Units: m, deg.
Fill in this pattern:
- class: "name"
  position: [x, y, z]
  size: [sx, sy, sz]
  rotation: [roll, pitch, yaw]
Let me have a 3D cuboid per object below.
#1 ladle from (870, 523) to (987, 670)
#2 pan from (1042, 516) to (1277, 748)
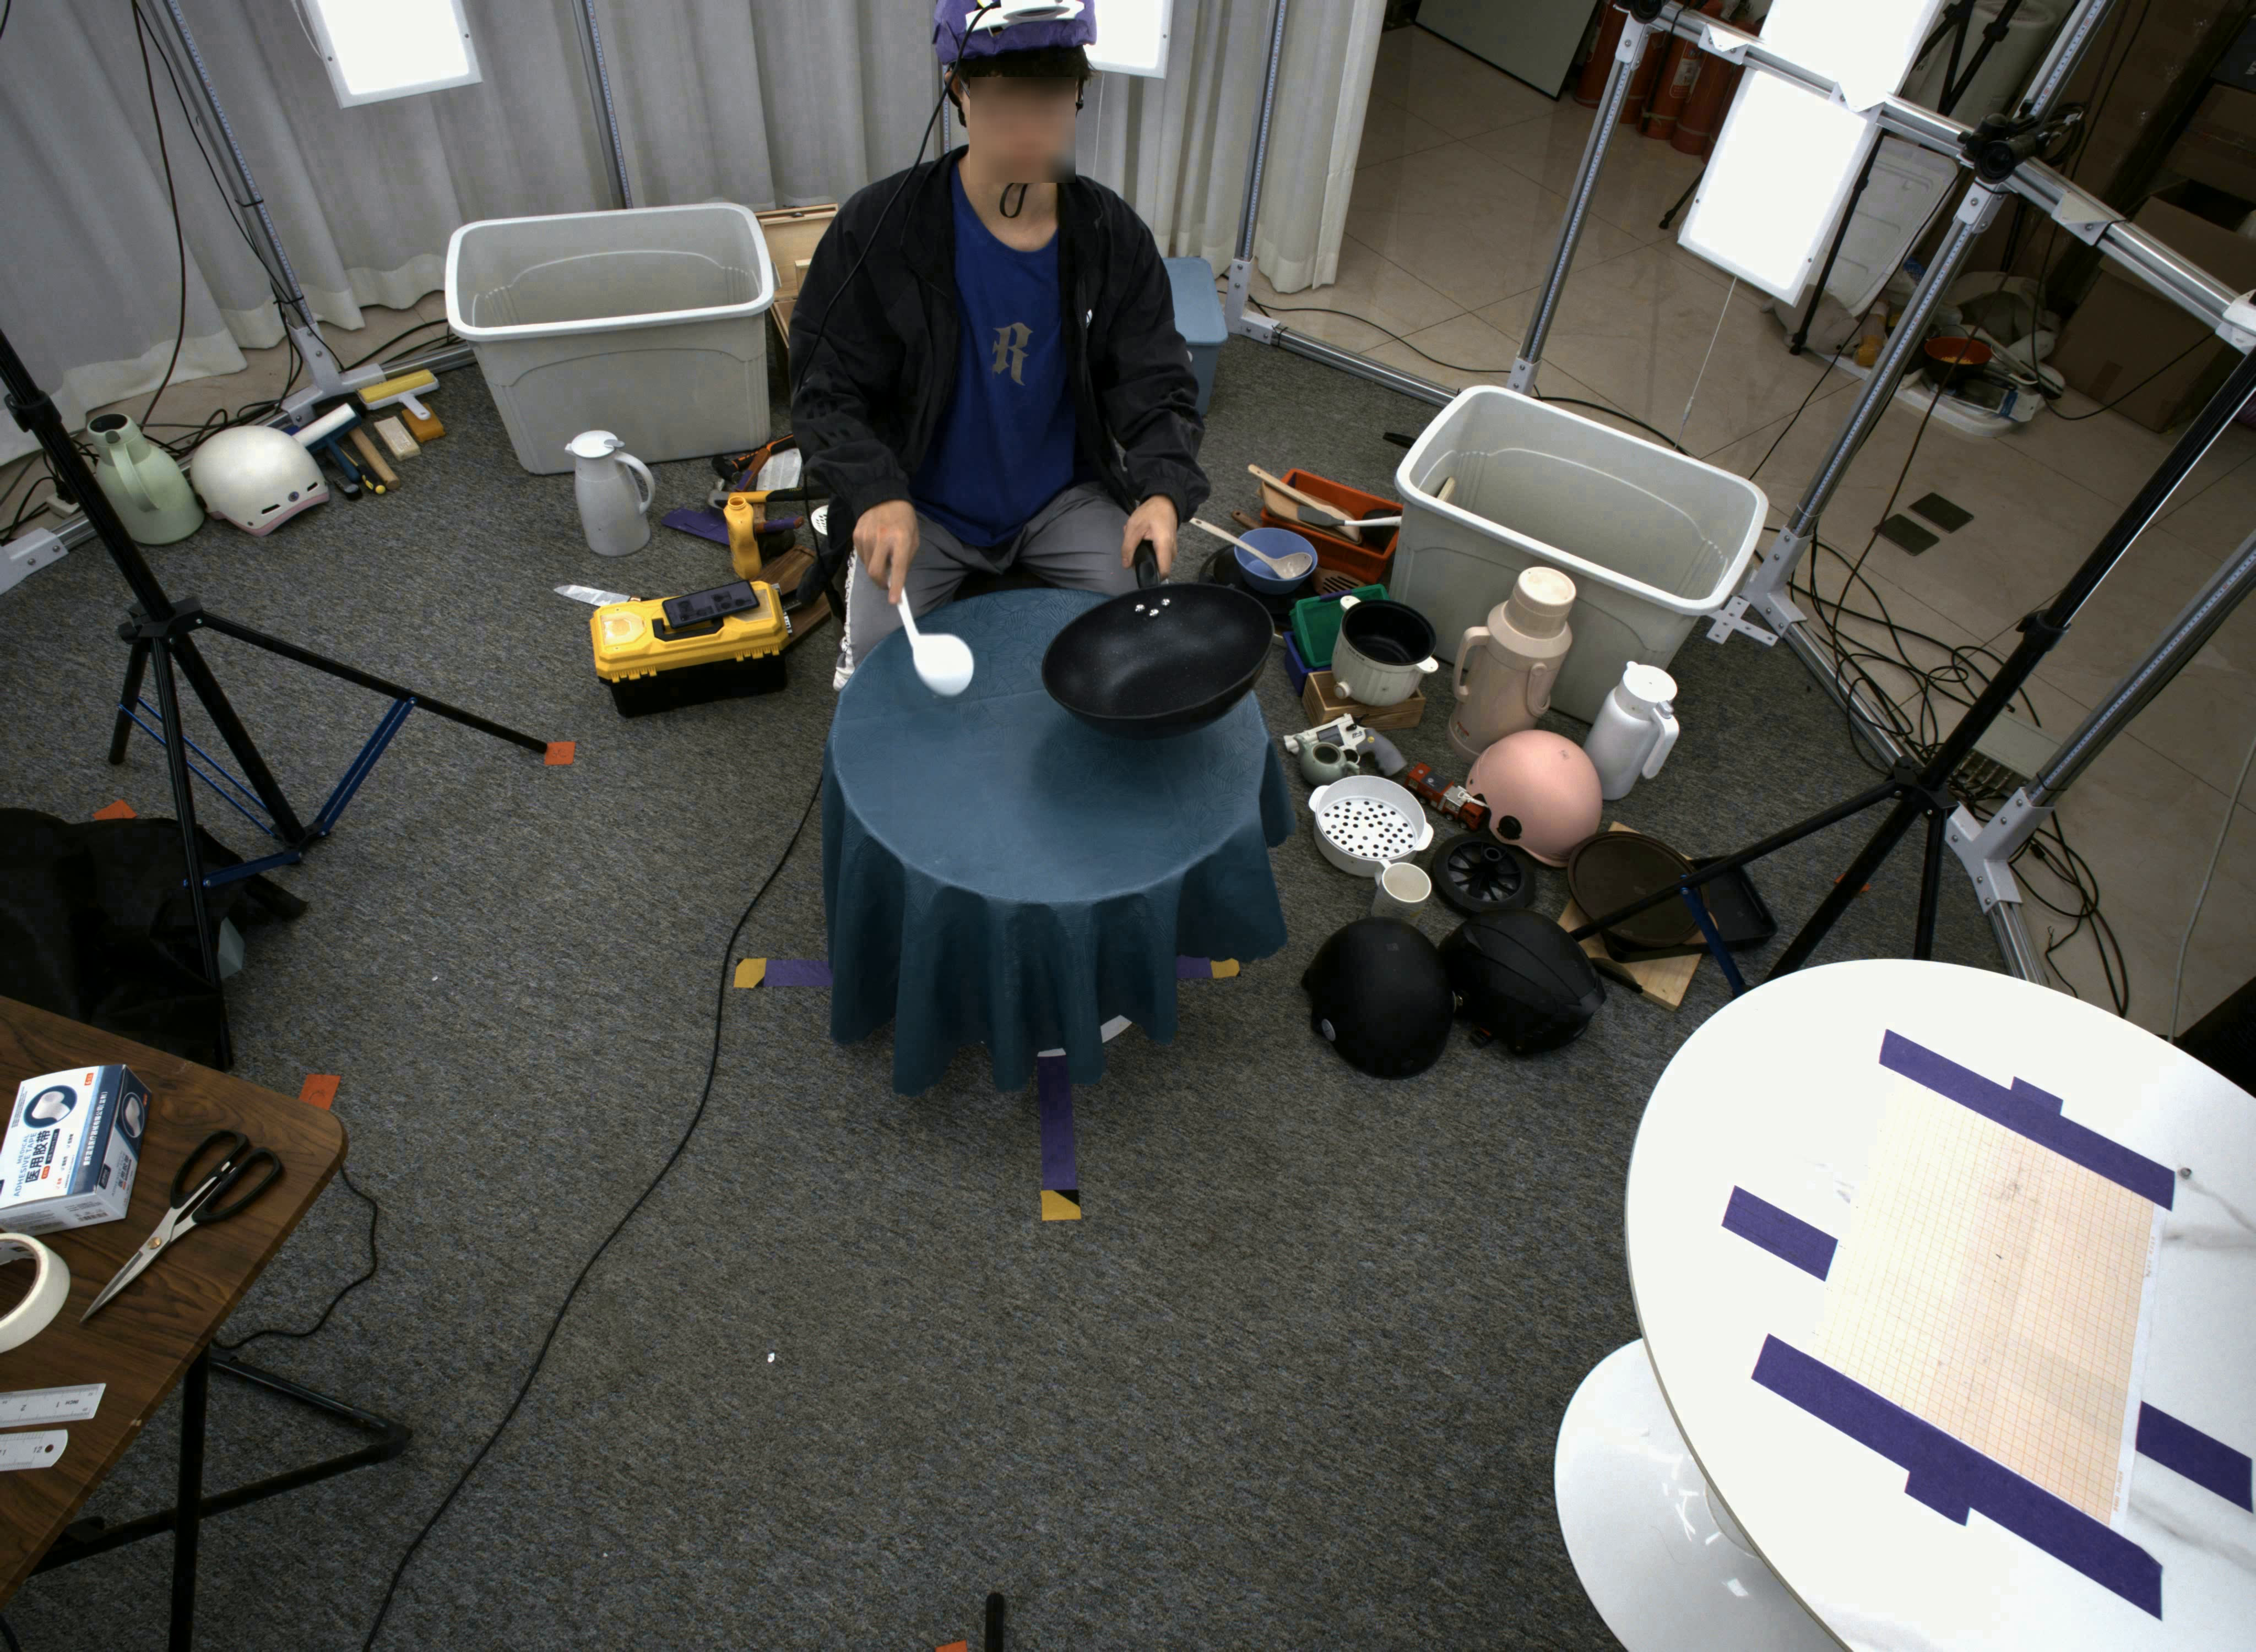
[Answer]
- class: "ladle"
  position: [-0.278, -0.326, 1.785]
  size: [0.070, 0.088, 0.300]
  rotation: [-10, 48, -26]
- class: "pan"
  position: [0.040, -0.261, 1.753]
  size: [0.310, 0.109, 0.489]
  rotation: [-10, 40, 5]
